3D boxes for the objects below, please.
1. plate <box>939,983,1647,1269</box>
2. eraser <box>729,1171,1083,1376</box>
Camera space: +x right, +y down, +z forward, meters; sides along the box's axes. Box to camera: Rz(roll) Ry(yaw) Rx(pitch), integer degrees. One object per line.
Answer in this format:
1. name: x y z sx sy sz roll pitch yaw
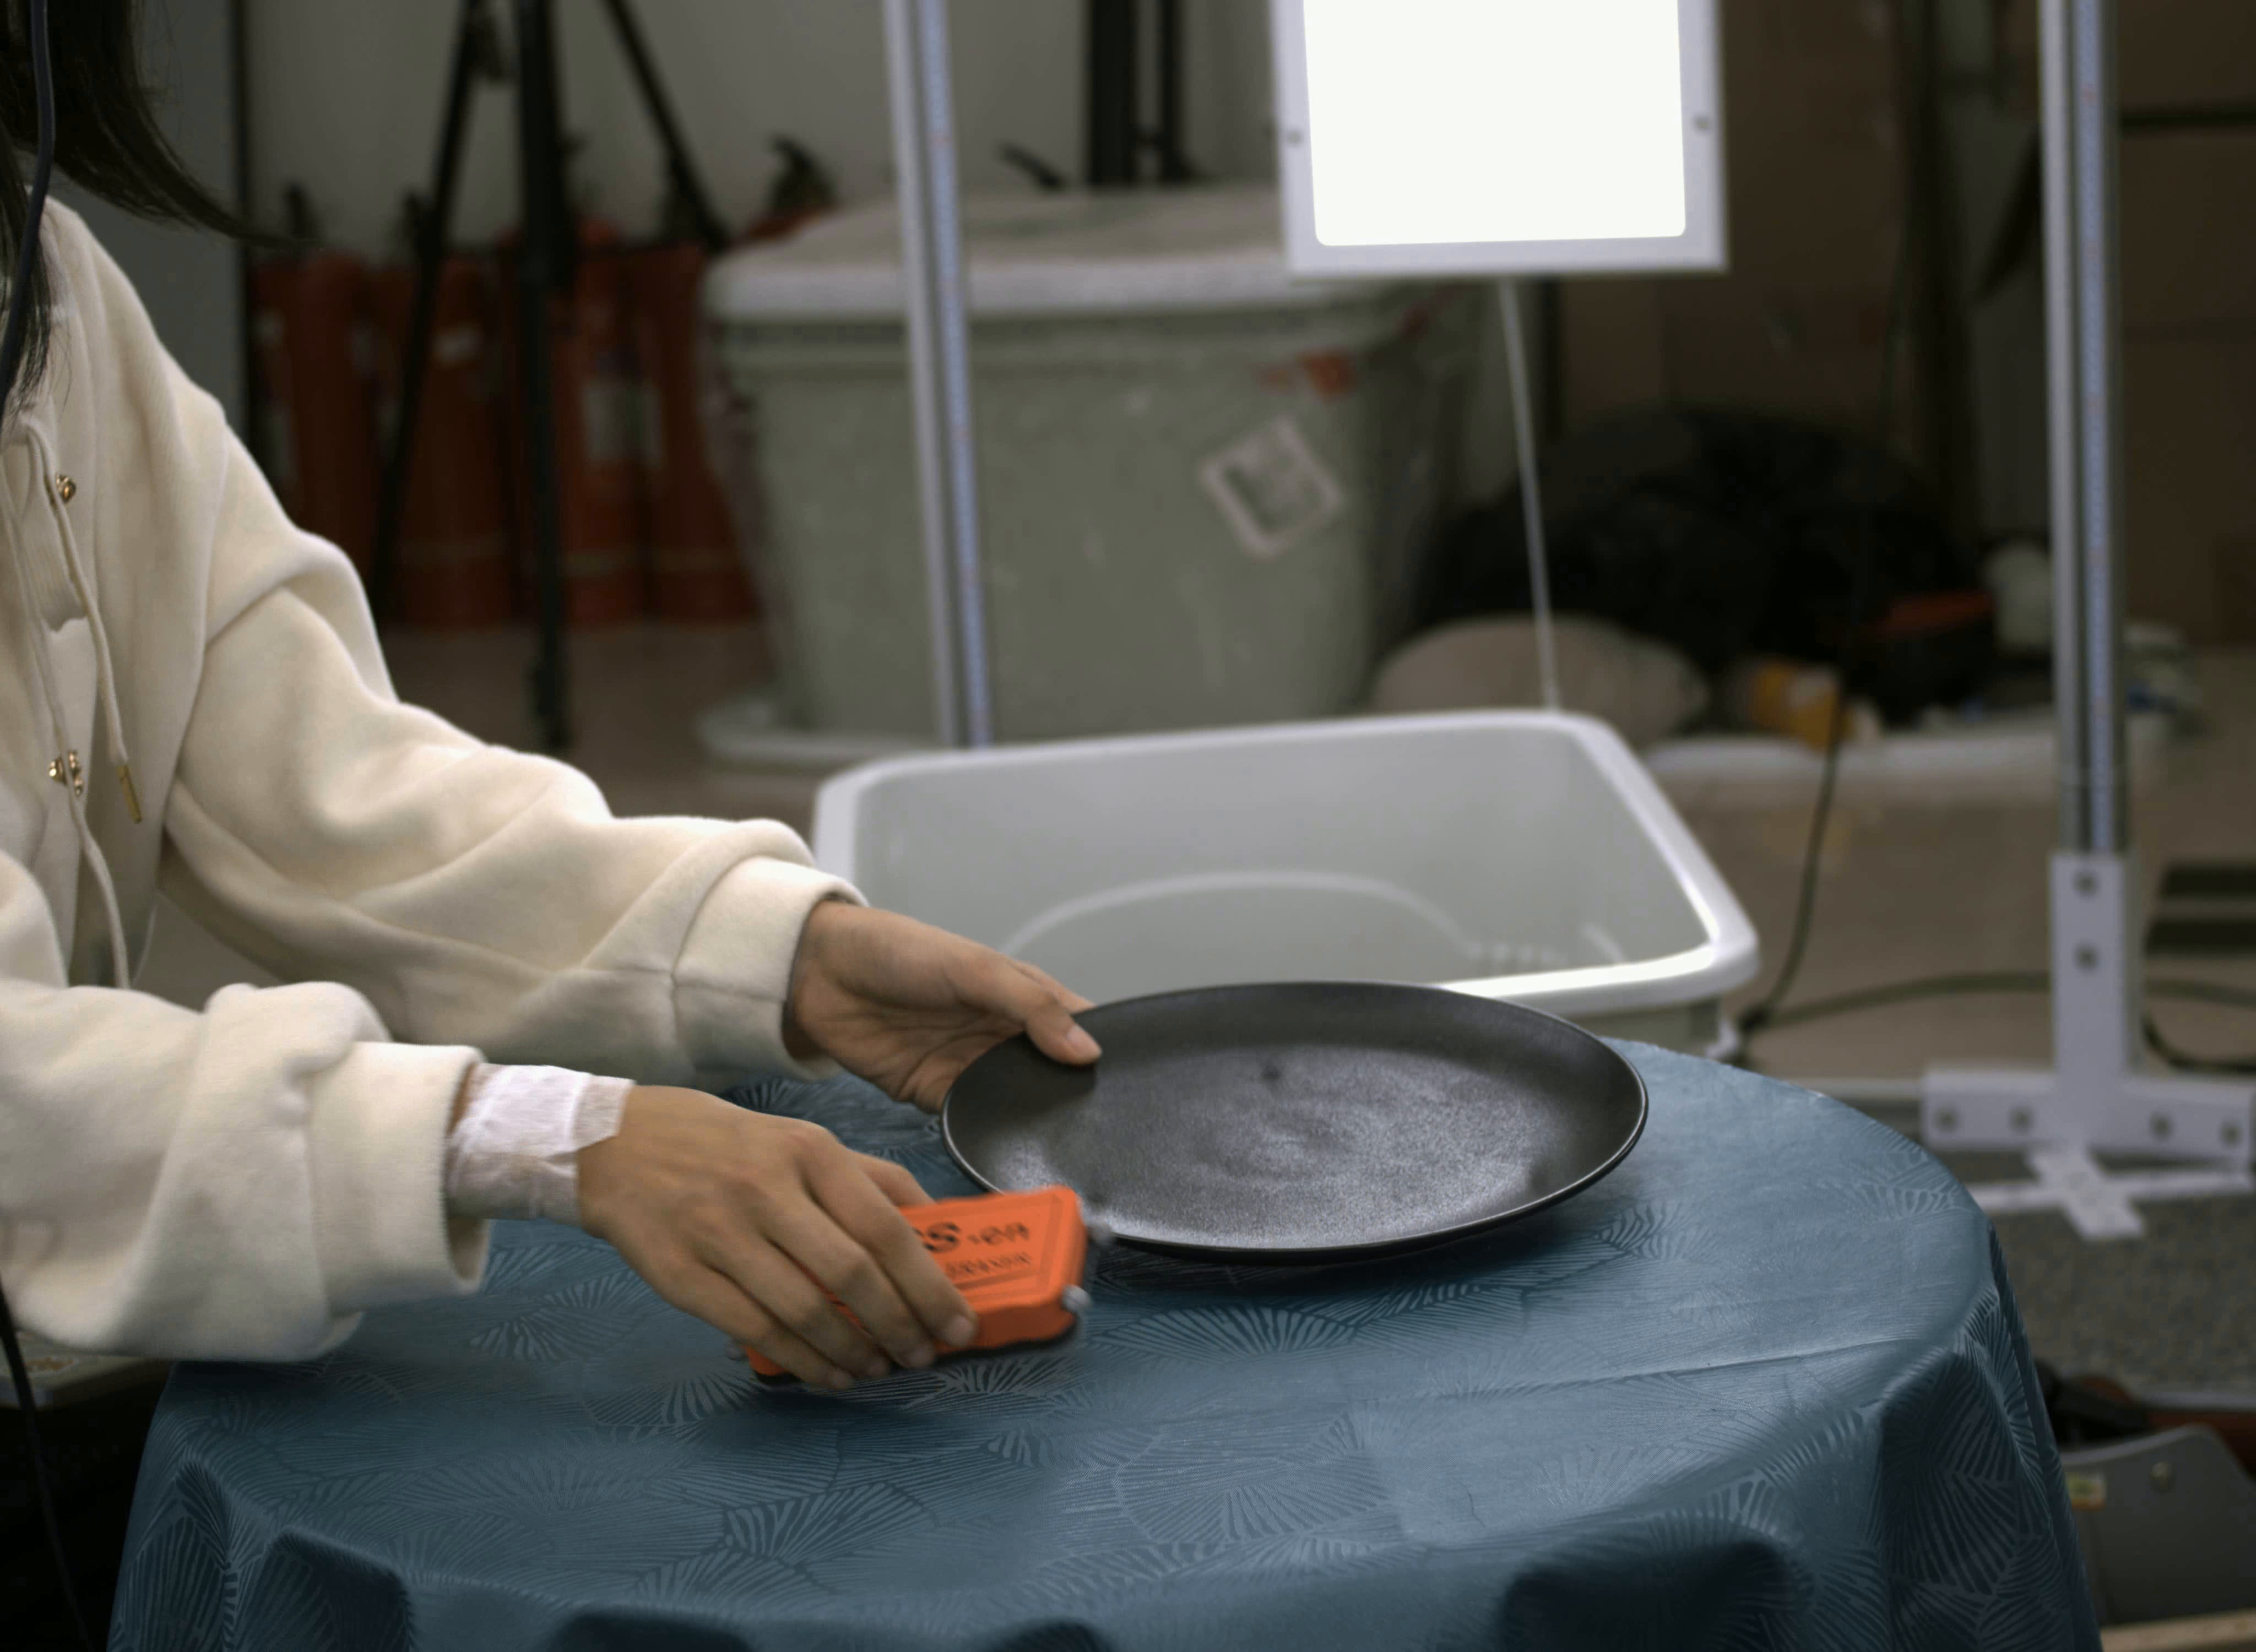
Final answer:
1. plate: 0.057 0.105 1.882 0.244 0.023 0.244 -4 19 0
2. eraser: -0.069 0.141 1.734 0.109 0.023 0.058 -9 36 16
